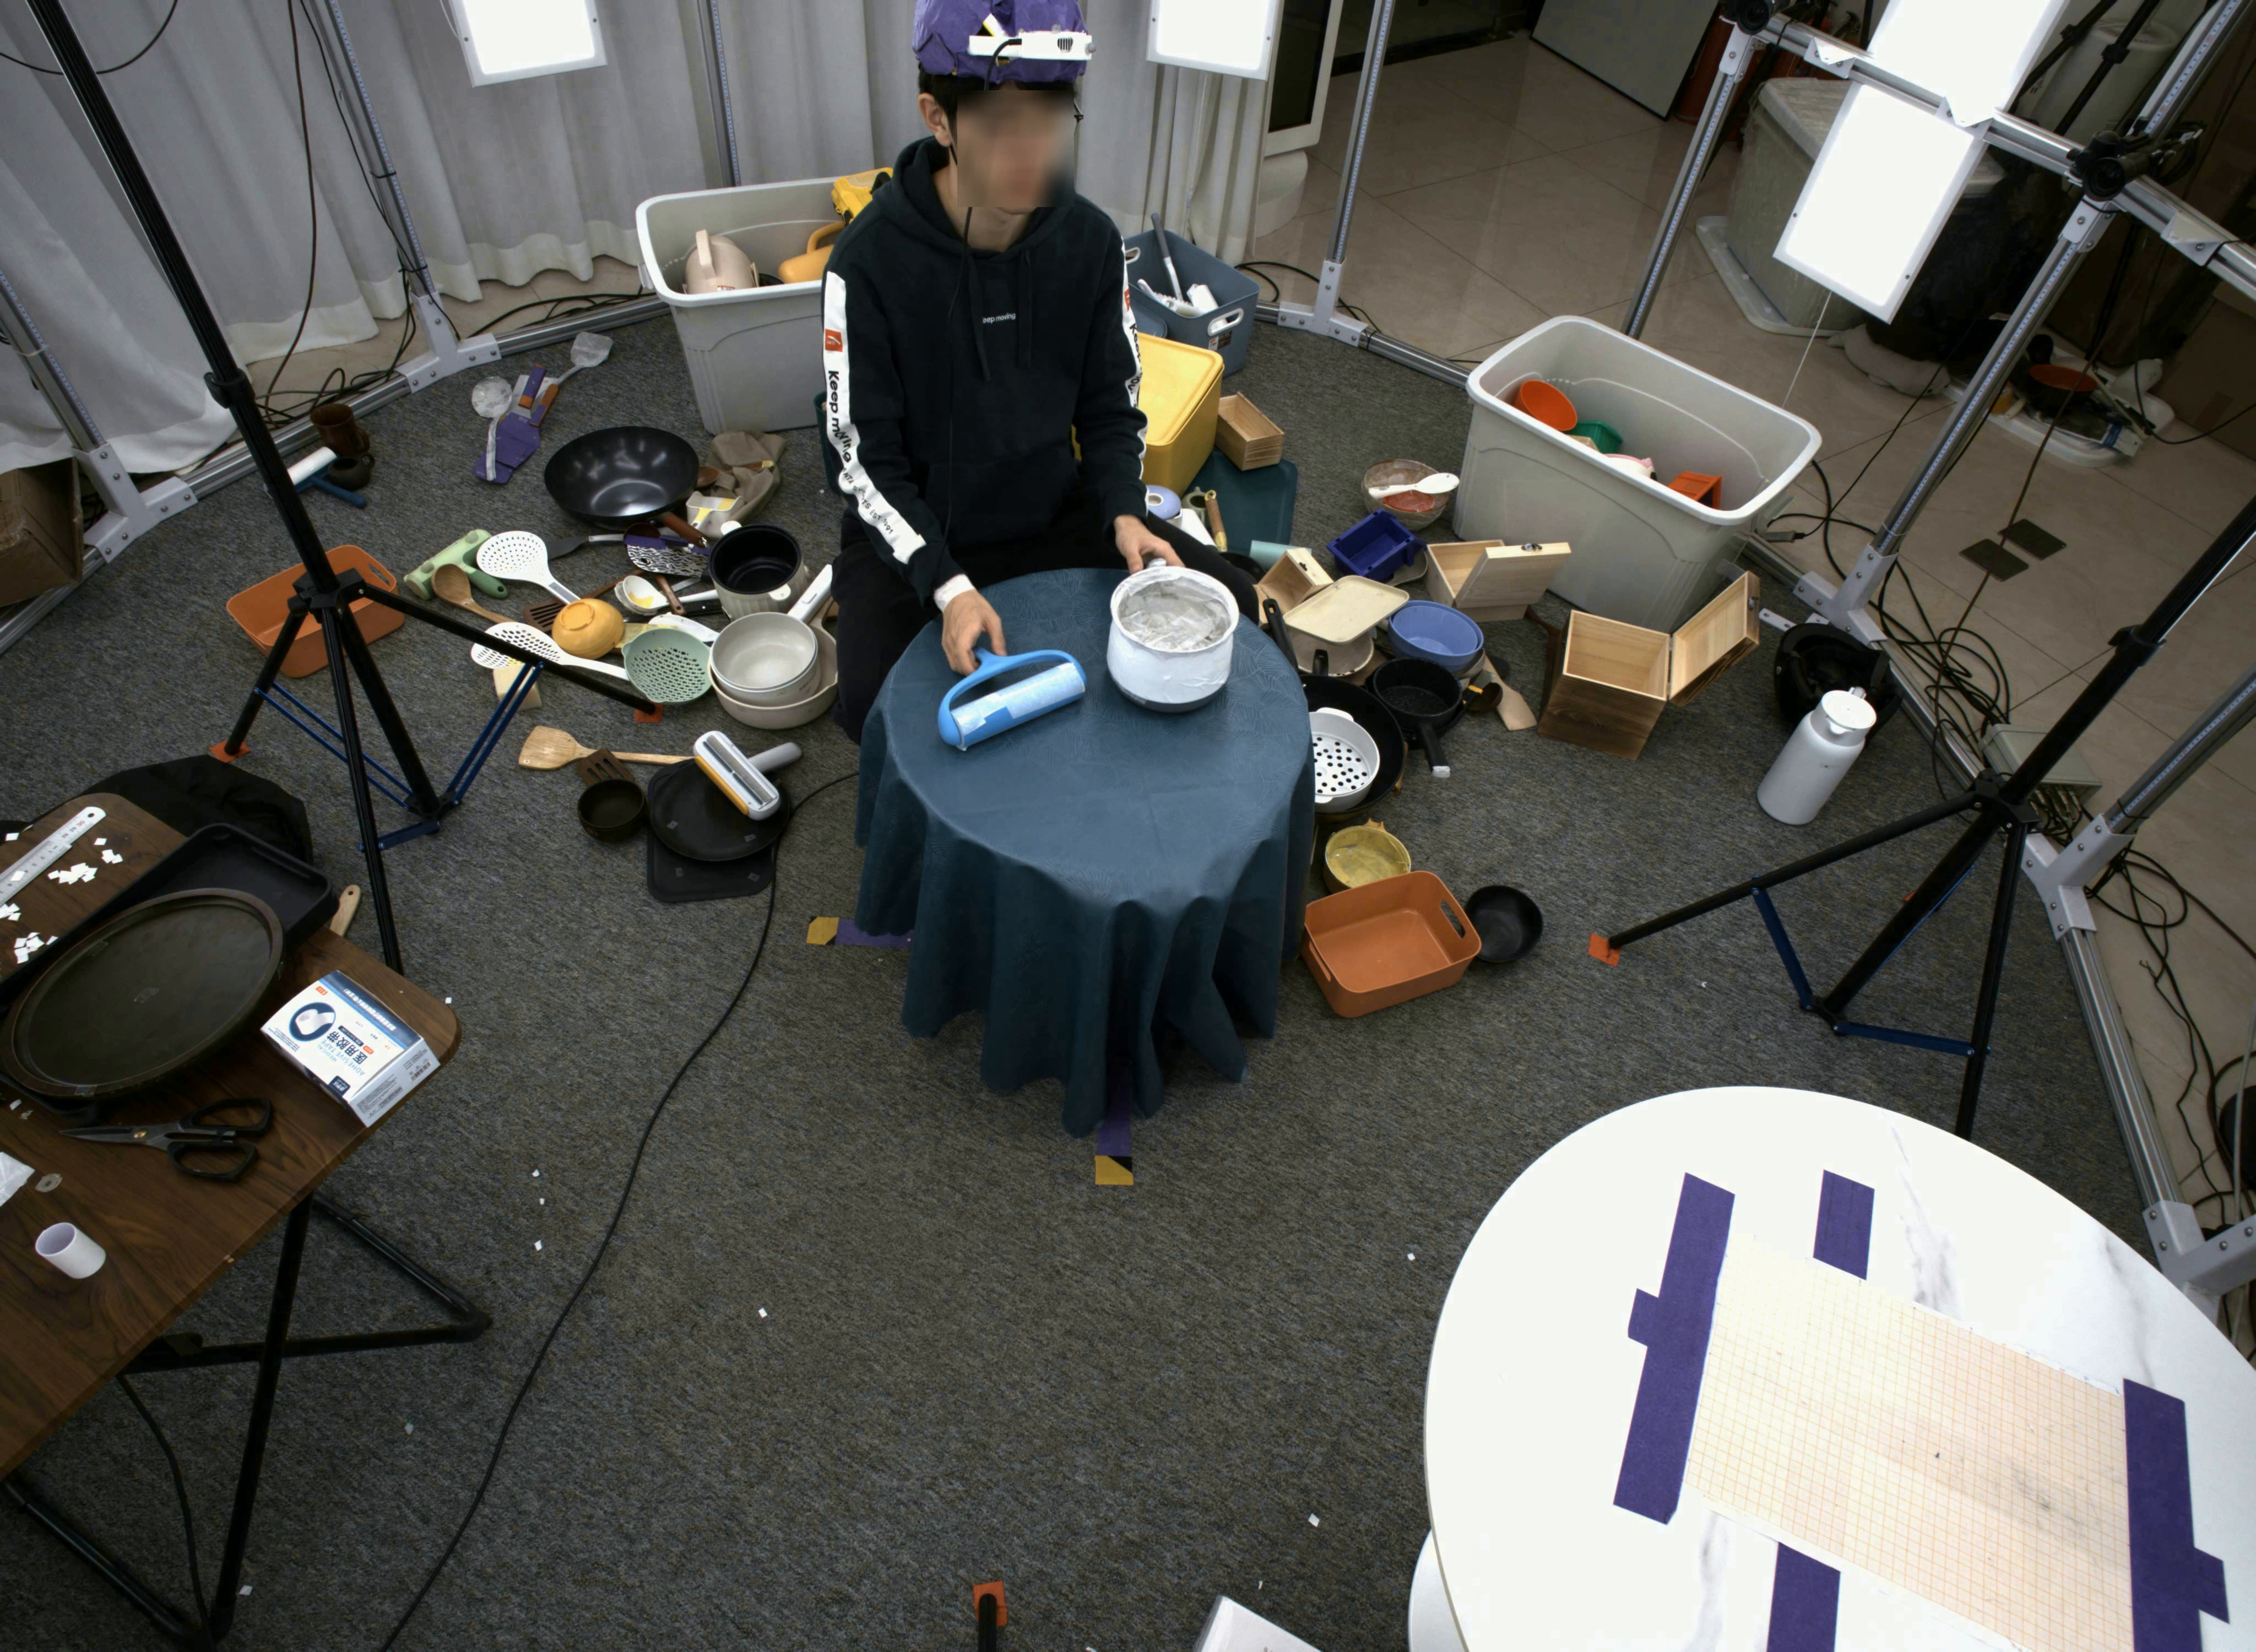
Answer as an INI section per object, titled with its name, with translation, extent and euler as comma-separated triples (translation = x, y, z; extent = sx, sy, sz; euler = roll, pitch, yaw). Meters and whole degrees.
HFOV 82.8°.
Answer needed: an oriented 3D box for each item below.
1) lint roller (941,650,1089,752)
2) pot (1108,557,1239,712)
[lint roller]
translation = -0.188, -0.203, 1.796
extent = 0.230, 0.066, 0.183
euler = -30, 58, -24
[pot]
translation = 0.055, -0.281, 1.824
extent = 0.178, 0.133, 0.239
euler = -7, 51, -10
